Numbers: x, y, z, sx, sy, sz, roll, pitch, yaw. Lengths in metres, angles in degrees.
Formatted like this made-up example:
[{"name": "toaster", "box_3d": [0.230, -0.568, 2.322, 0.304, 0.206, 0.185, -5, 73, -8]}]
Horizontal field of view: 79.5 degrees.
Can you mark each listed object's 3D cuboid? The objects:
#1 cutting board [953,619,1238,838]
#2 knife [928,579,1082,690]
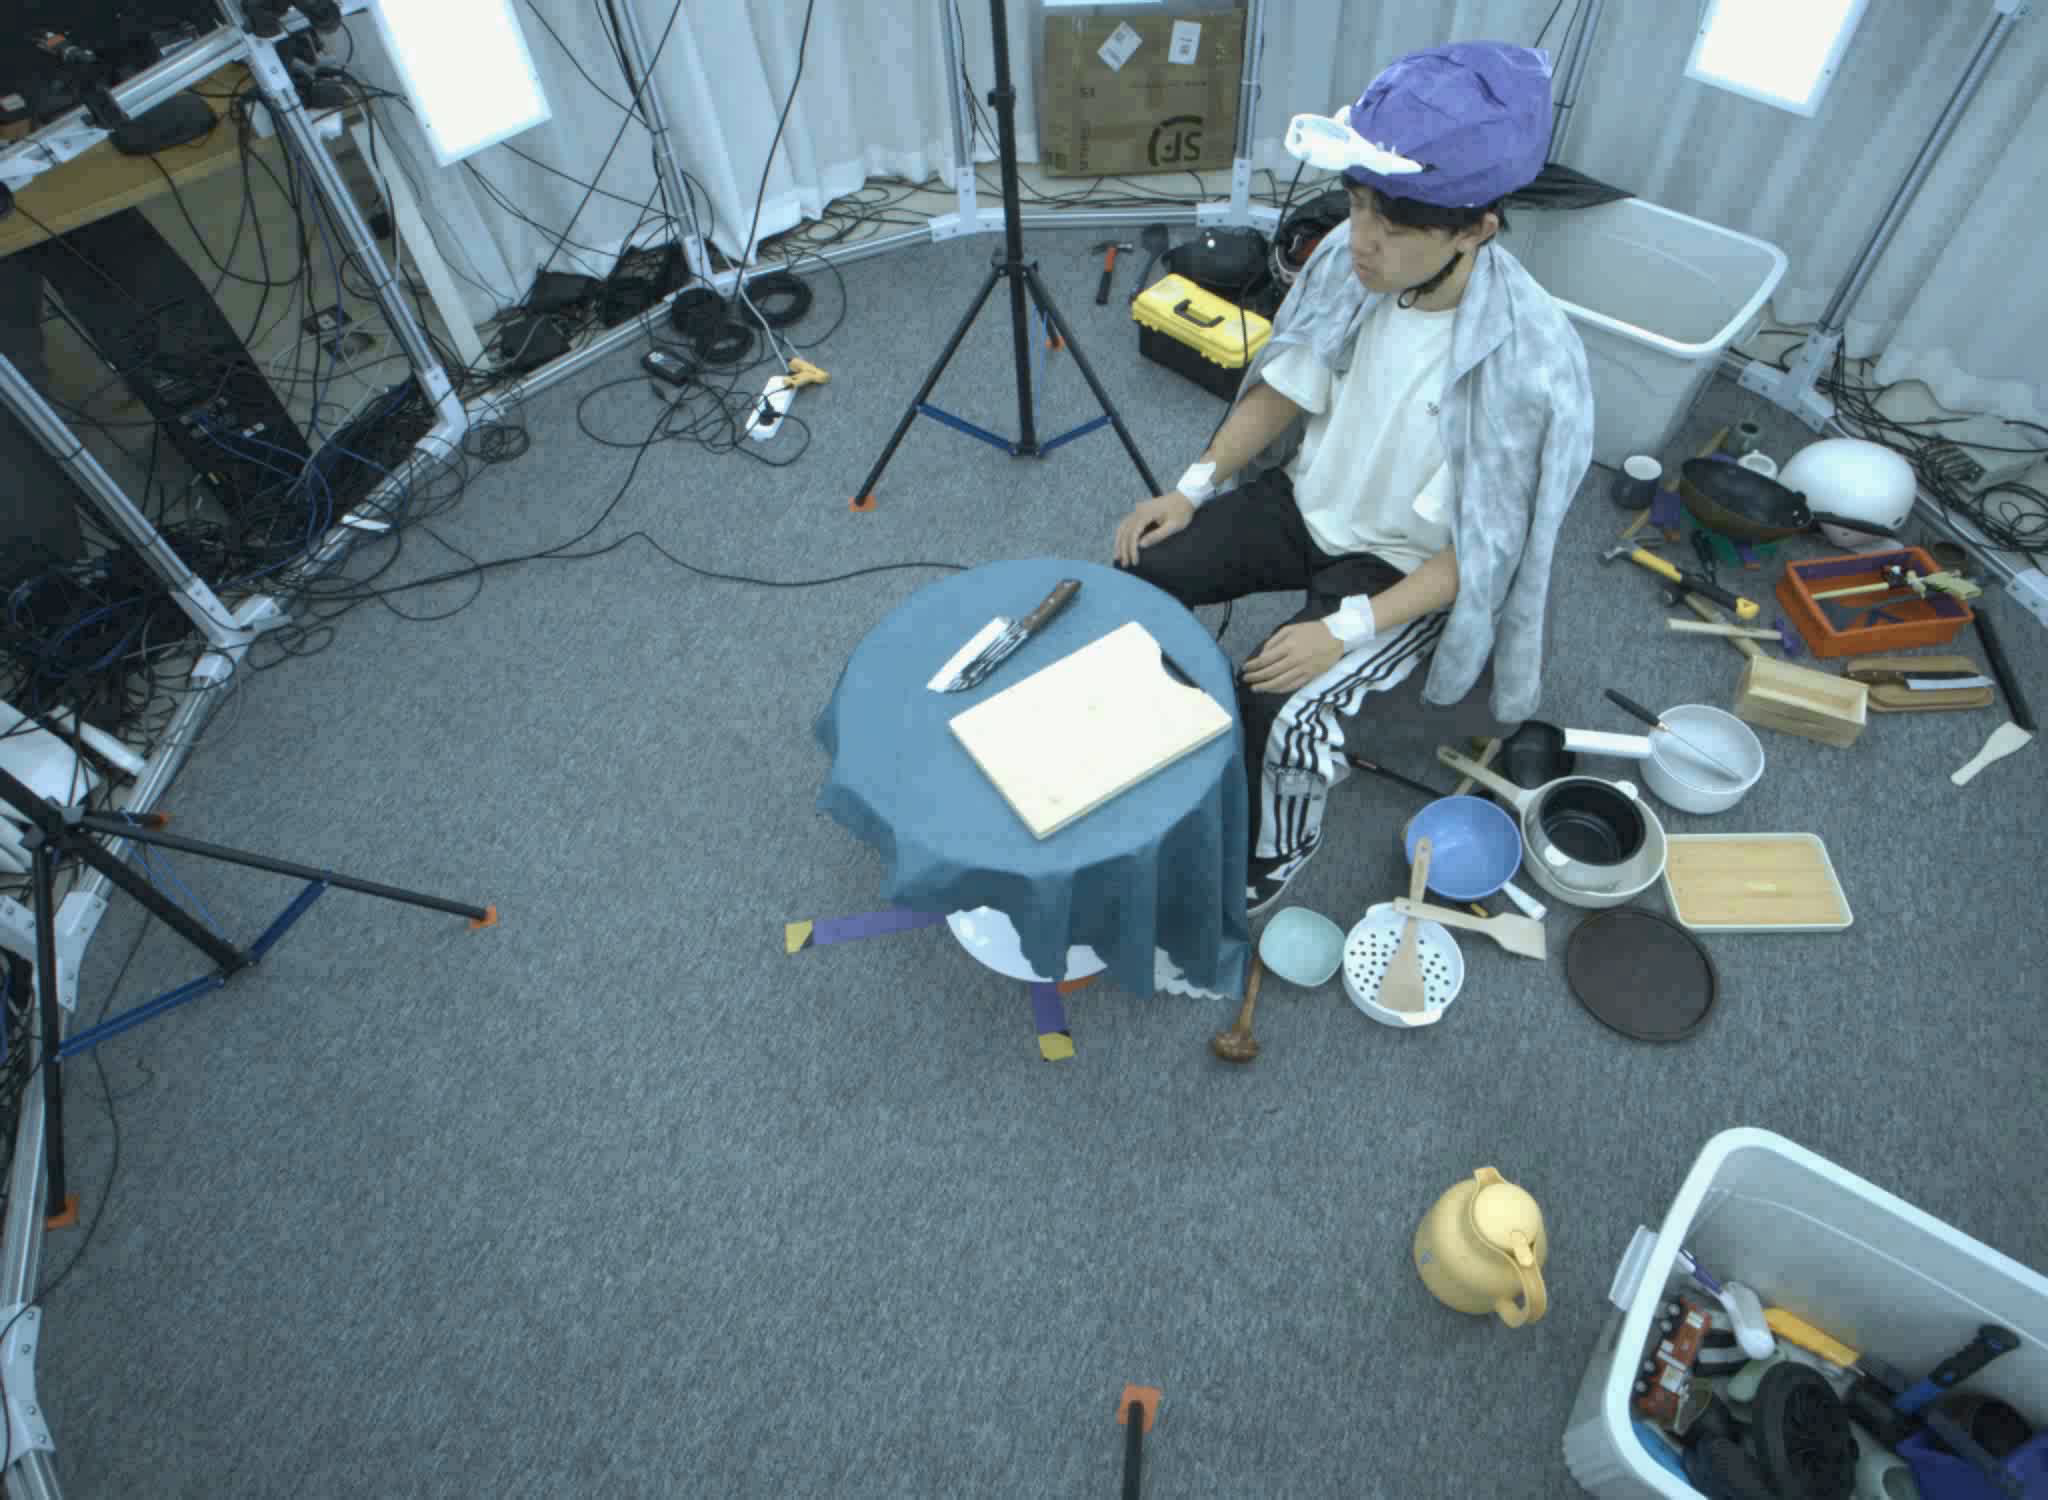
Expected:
[{"name": "cutting board", "box_3d": [0.101, -0.041, 1.805, 0.351, 0.024, 0.246, -30, 59, -18]}, {"name": "knife", "box_3d": [-0.028, -0.182, 1.907, 0.067, 0.024, 0.301, 36, 66, 26]}]
